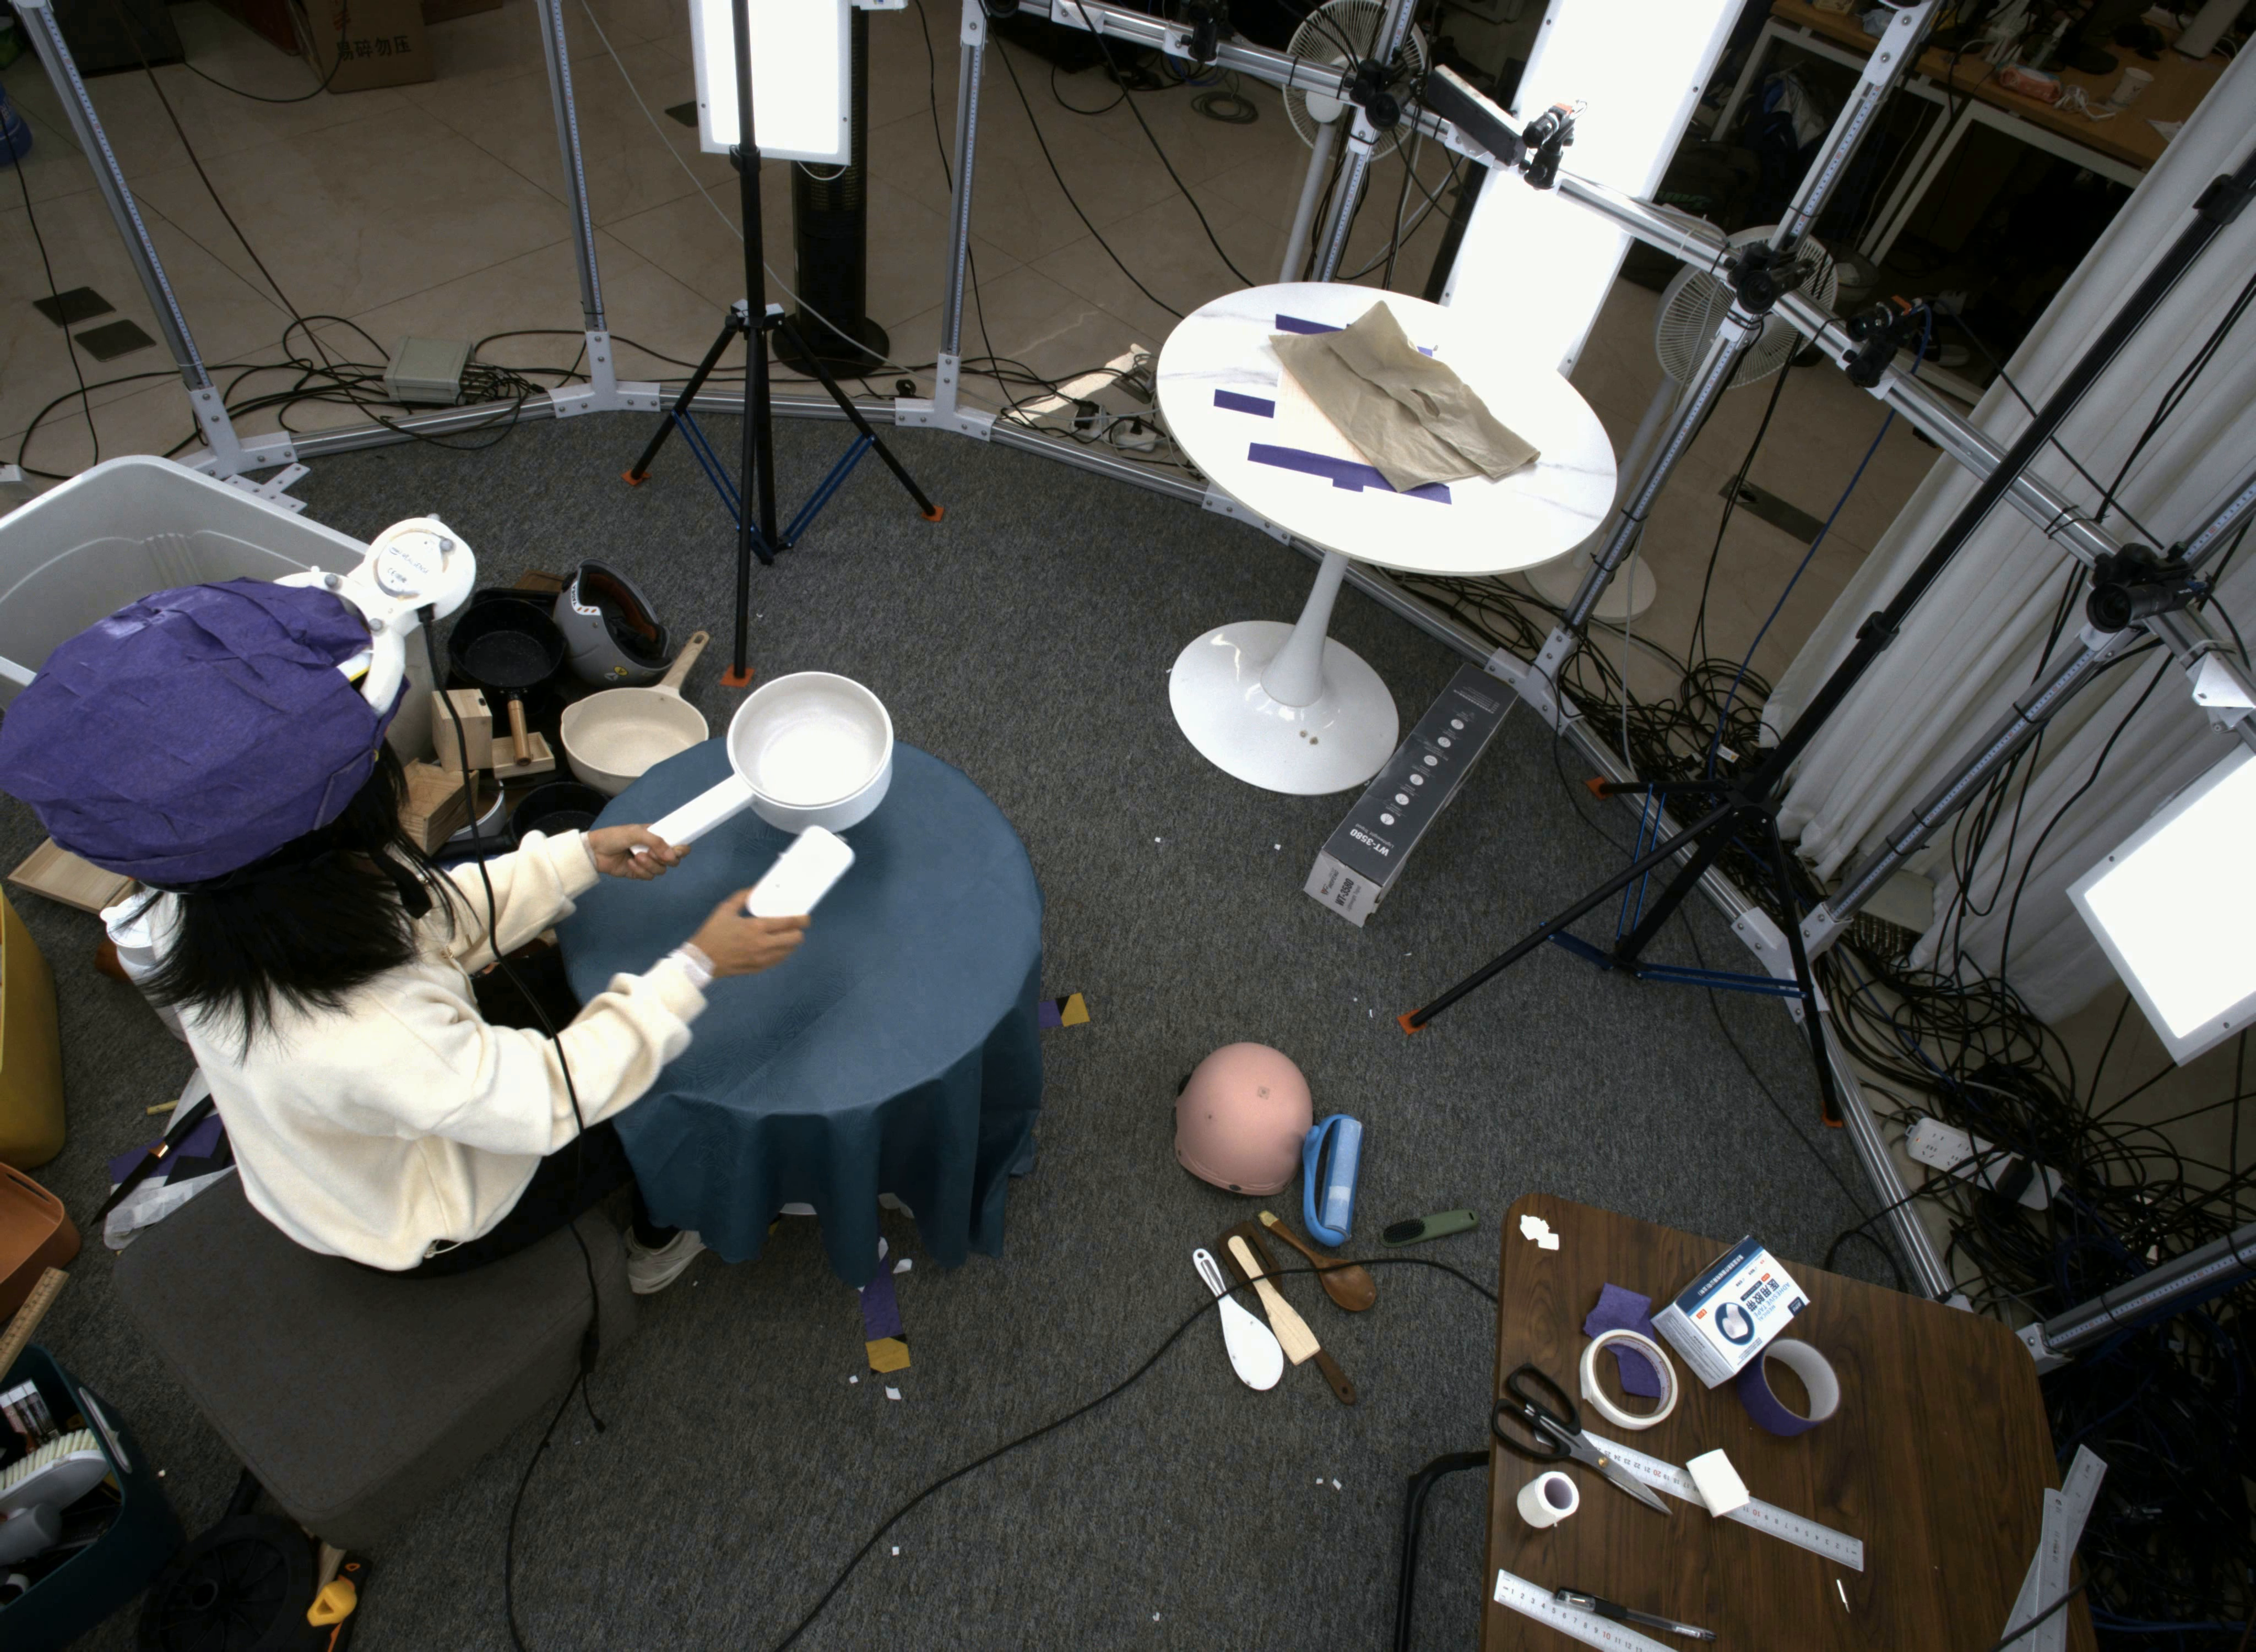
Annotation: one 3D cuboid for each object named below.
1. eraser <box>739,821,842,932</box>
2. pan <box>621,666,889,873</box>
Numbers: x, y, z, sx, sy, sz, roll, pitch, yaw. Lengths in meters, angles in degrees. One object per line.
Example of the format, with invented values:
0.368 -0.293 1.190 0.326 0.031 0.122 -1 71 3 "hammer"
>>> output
-0.388 0.056 1.491 0.063 0.035 0.131 35 69 2 "eraser"
-0.454 -0.047 1.592 0.355 0.104 0.197 -38 72 -23 "pan"
